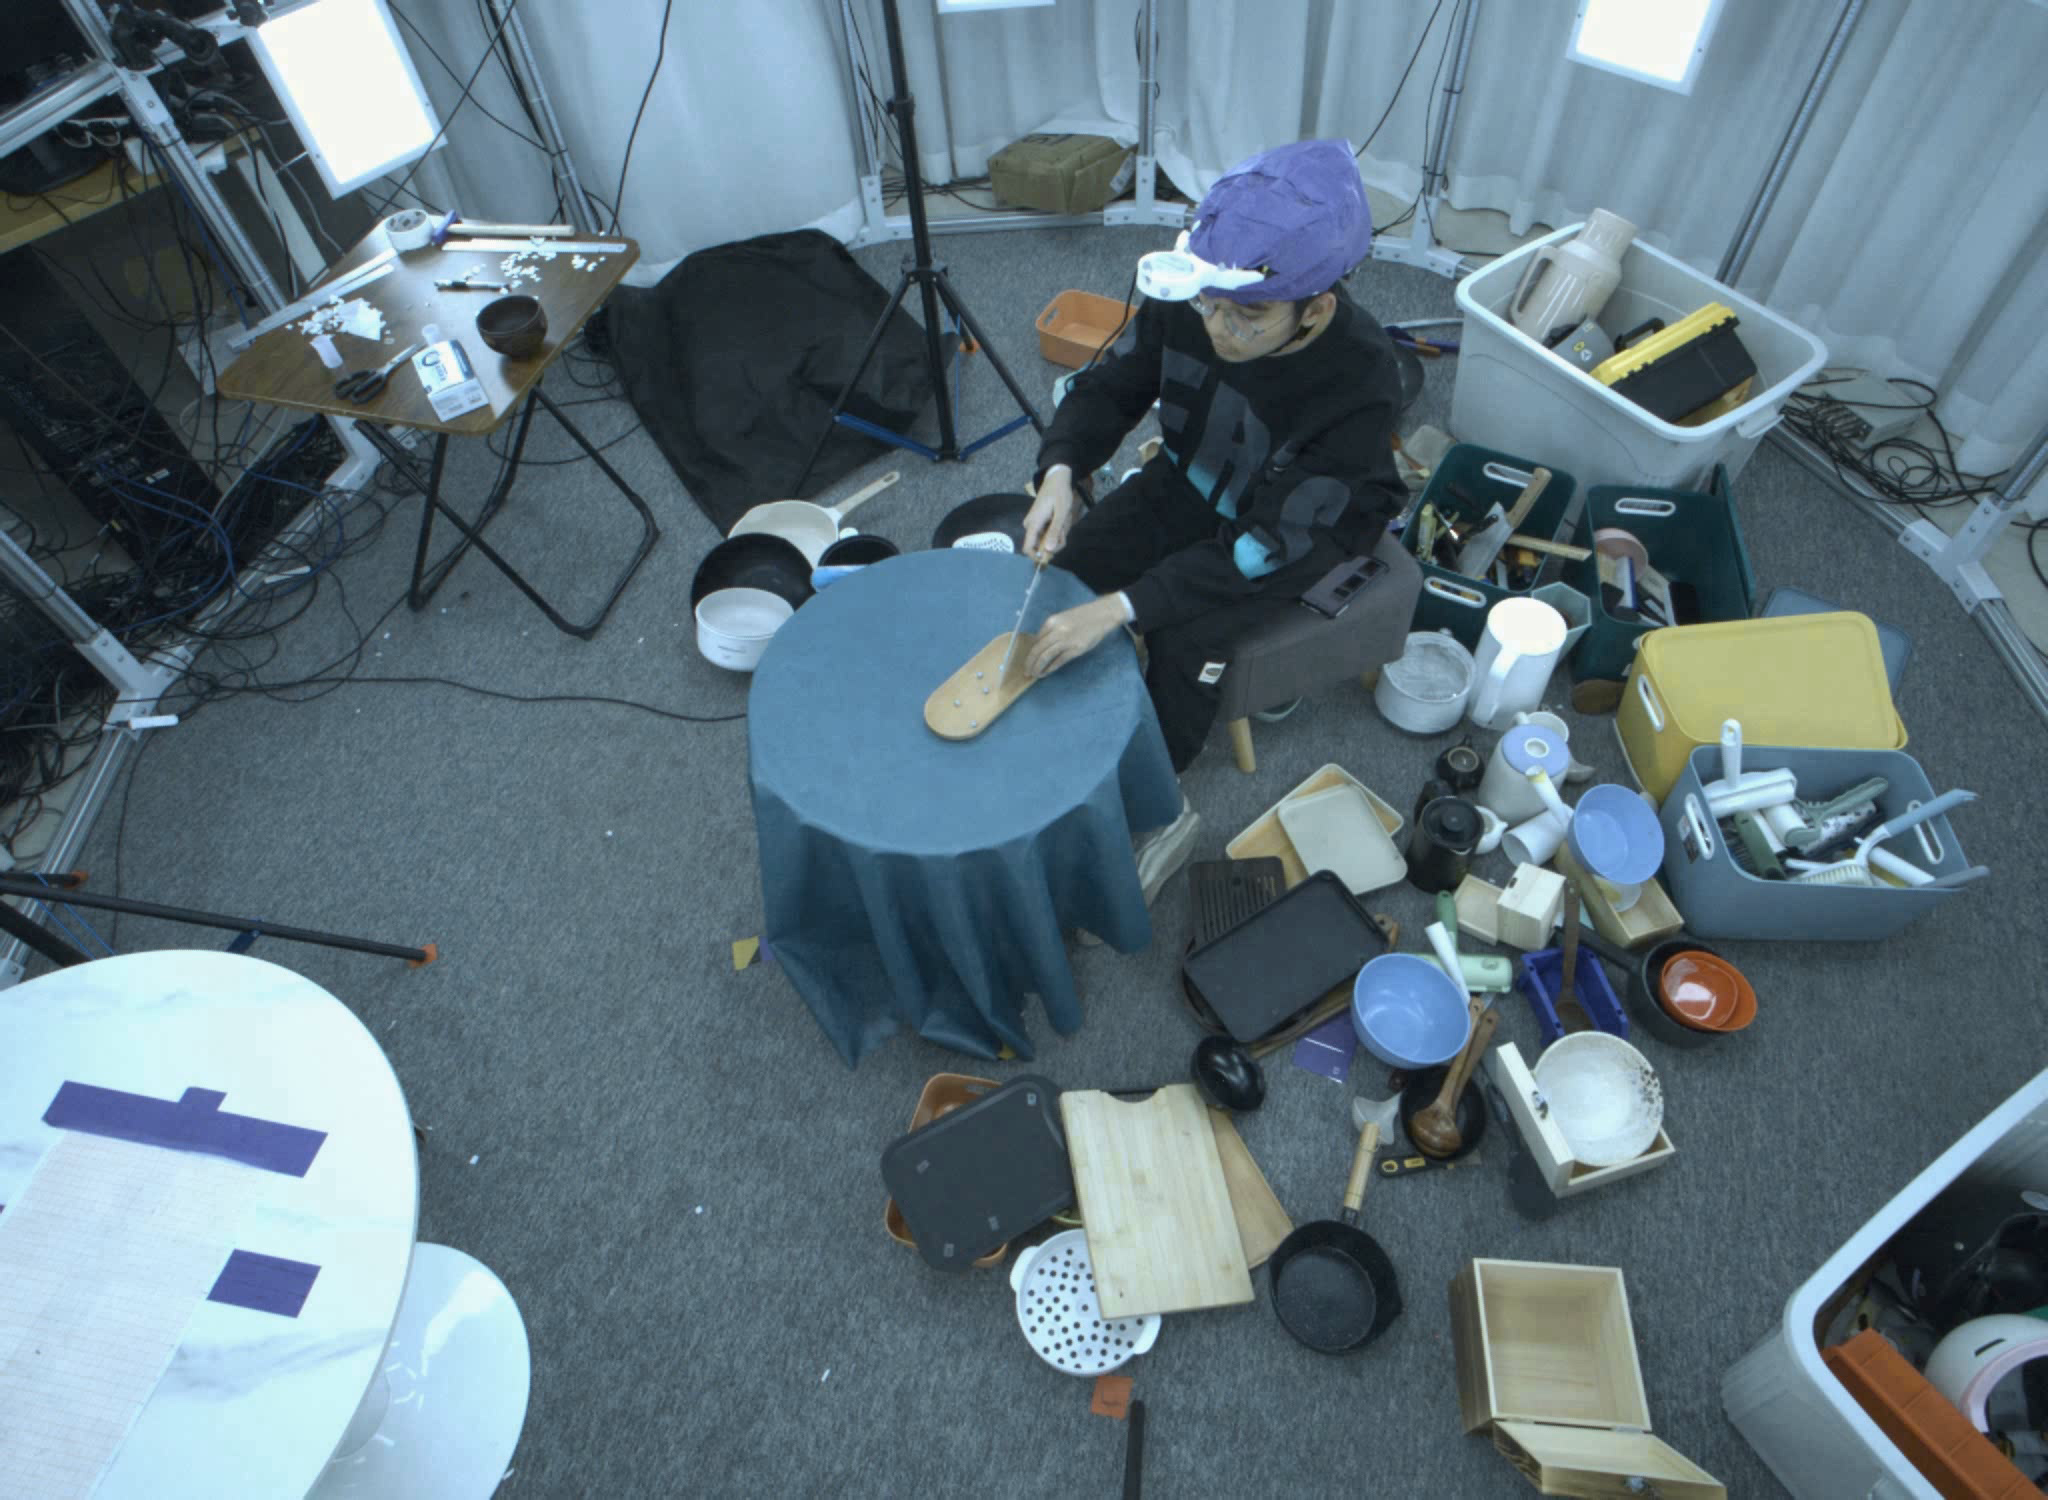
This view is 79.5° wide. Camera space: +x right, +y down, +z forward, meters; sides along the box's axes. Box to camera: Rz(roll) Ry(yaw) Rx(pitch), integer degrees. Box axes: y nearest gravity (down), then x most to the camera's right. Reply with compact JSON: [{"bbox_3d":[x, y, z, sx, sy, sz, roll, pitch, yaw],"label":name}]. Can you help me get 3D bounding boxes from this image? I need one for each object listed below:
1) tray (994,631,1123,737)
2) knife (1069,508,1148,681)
[{"bbox_3d":[0.053,-0.100,1.845,0.233,0.020,0.100,-39,64,-24],"label":"tray"},{"bbox_3d":[0.125,-0.236,1.865,0.021,0.093,0.305,22,63,4],"label":"knife"}]
